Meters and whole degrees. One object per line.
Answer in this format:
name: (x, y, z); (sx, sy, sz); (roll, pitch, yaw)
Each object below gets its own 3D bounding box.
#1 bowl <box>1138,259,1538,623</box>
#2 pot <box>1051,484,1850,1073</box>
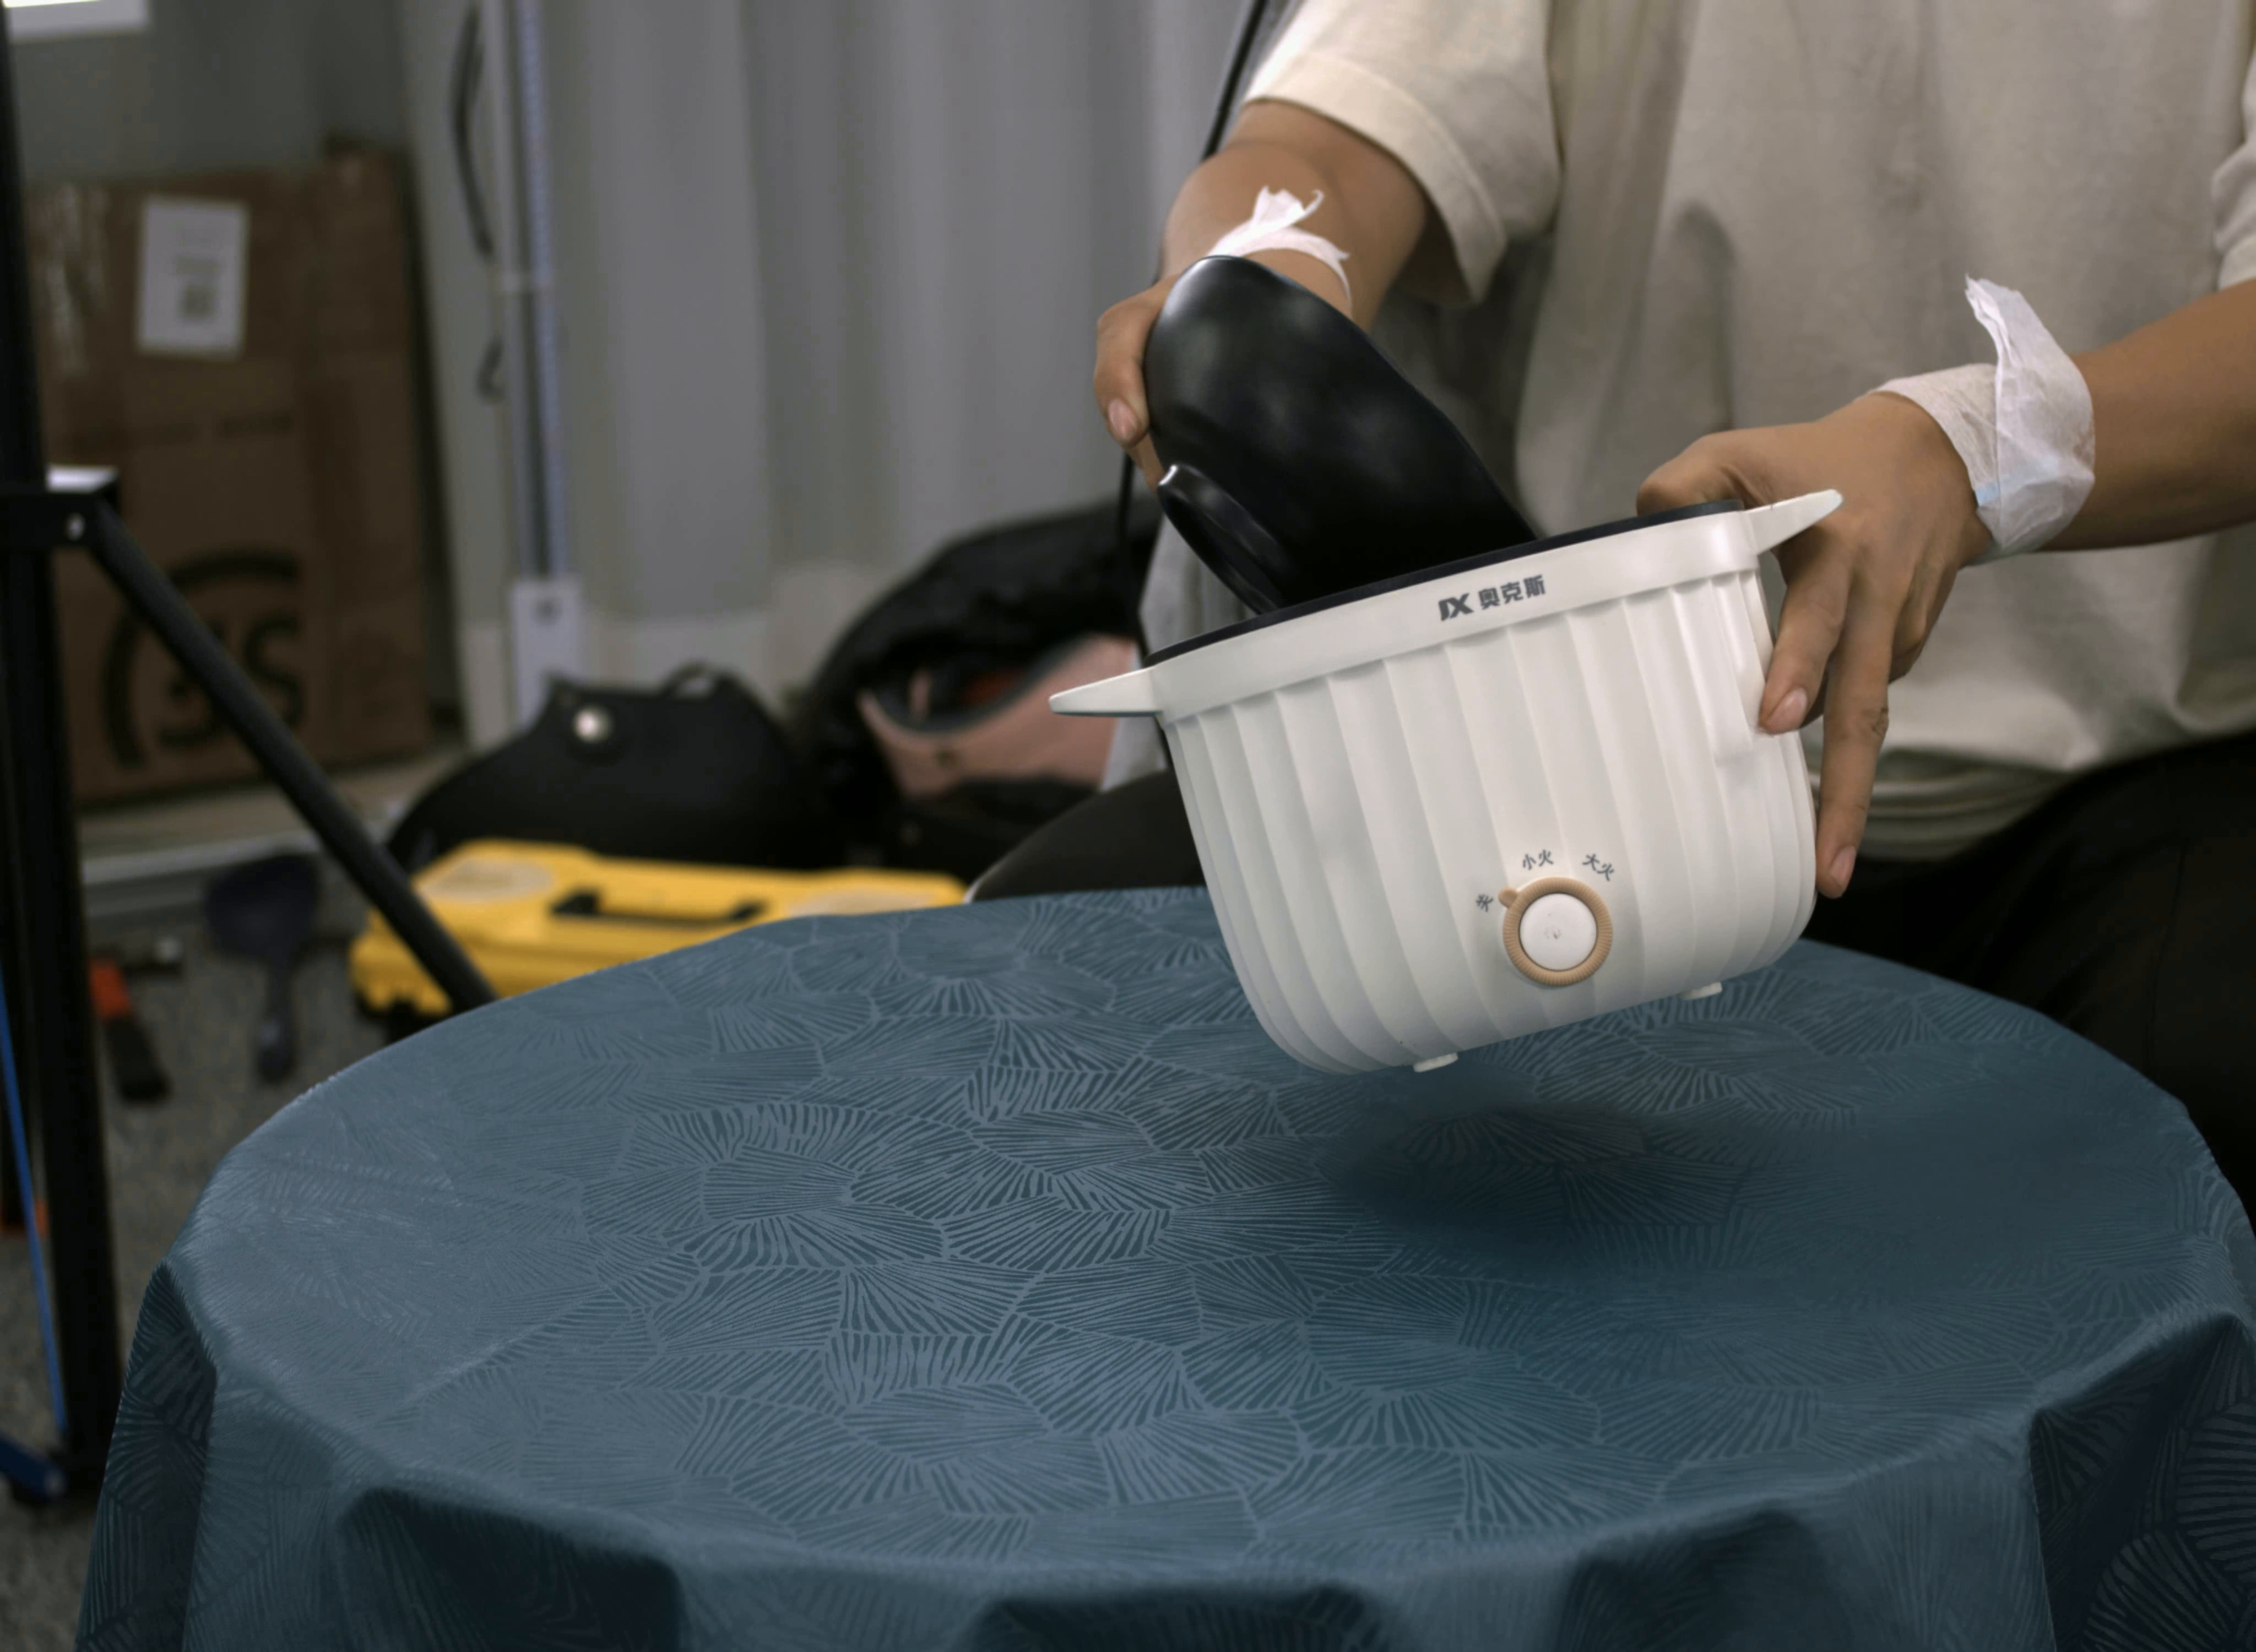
bowl: (0.053, -0.097, 1.568); (0.066, 0.134, 0.174); (-44, 46, -9)
pot: (0.110, -0.008, 1.535); (0.239, 0.143, 0.190); (-15, -6, 0)
